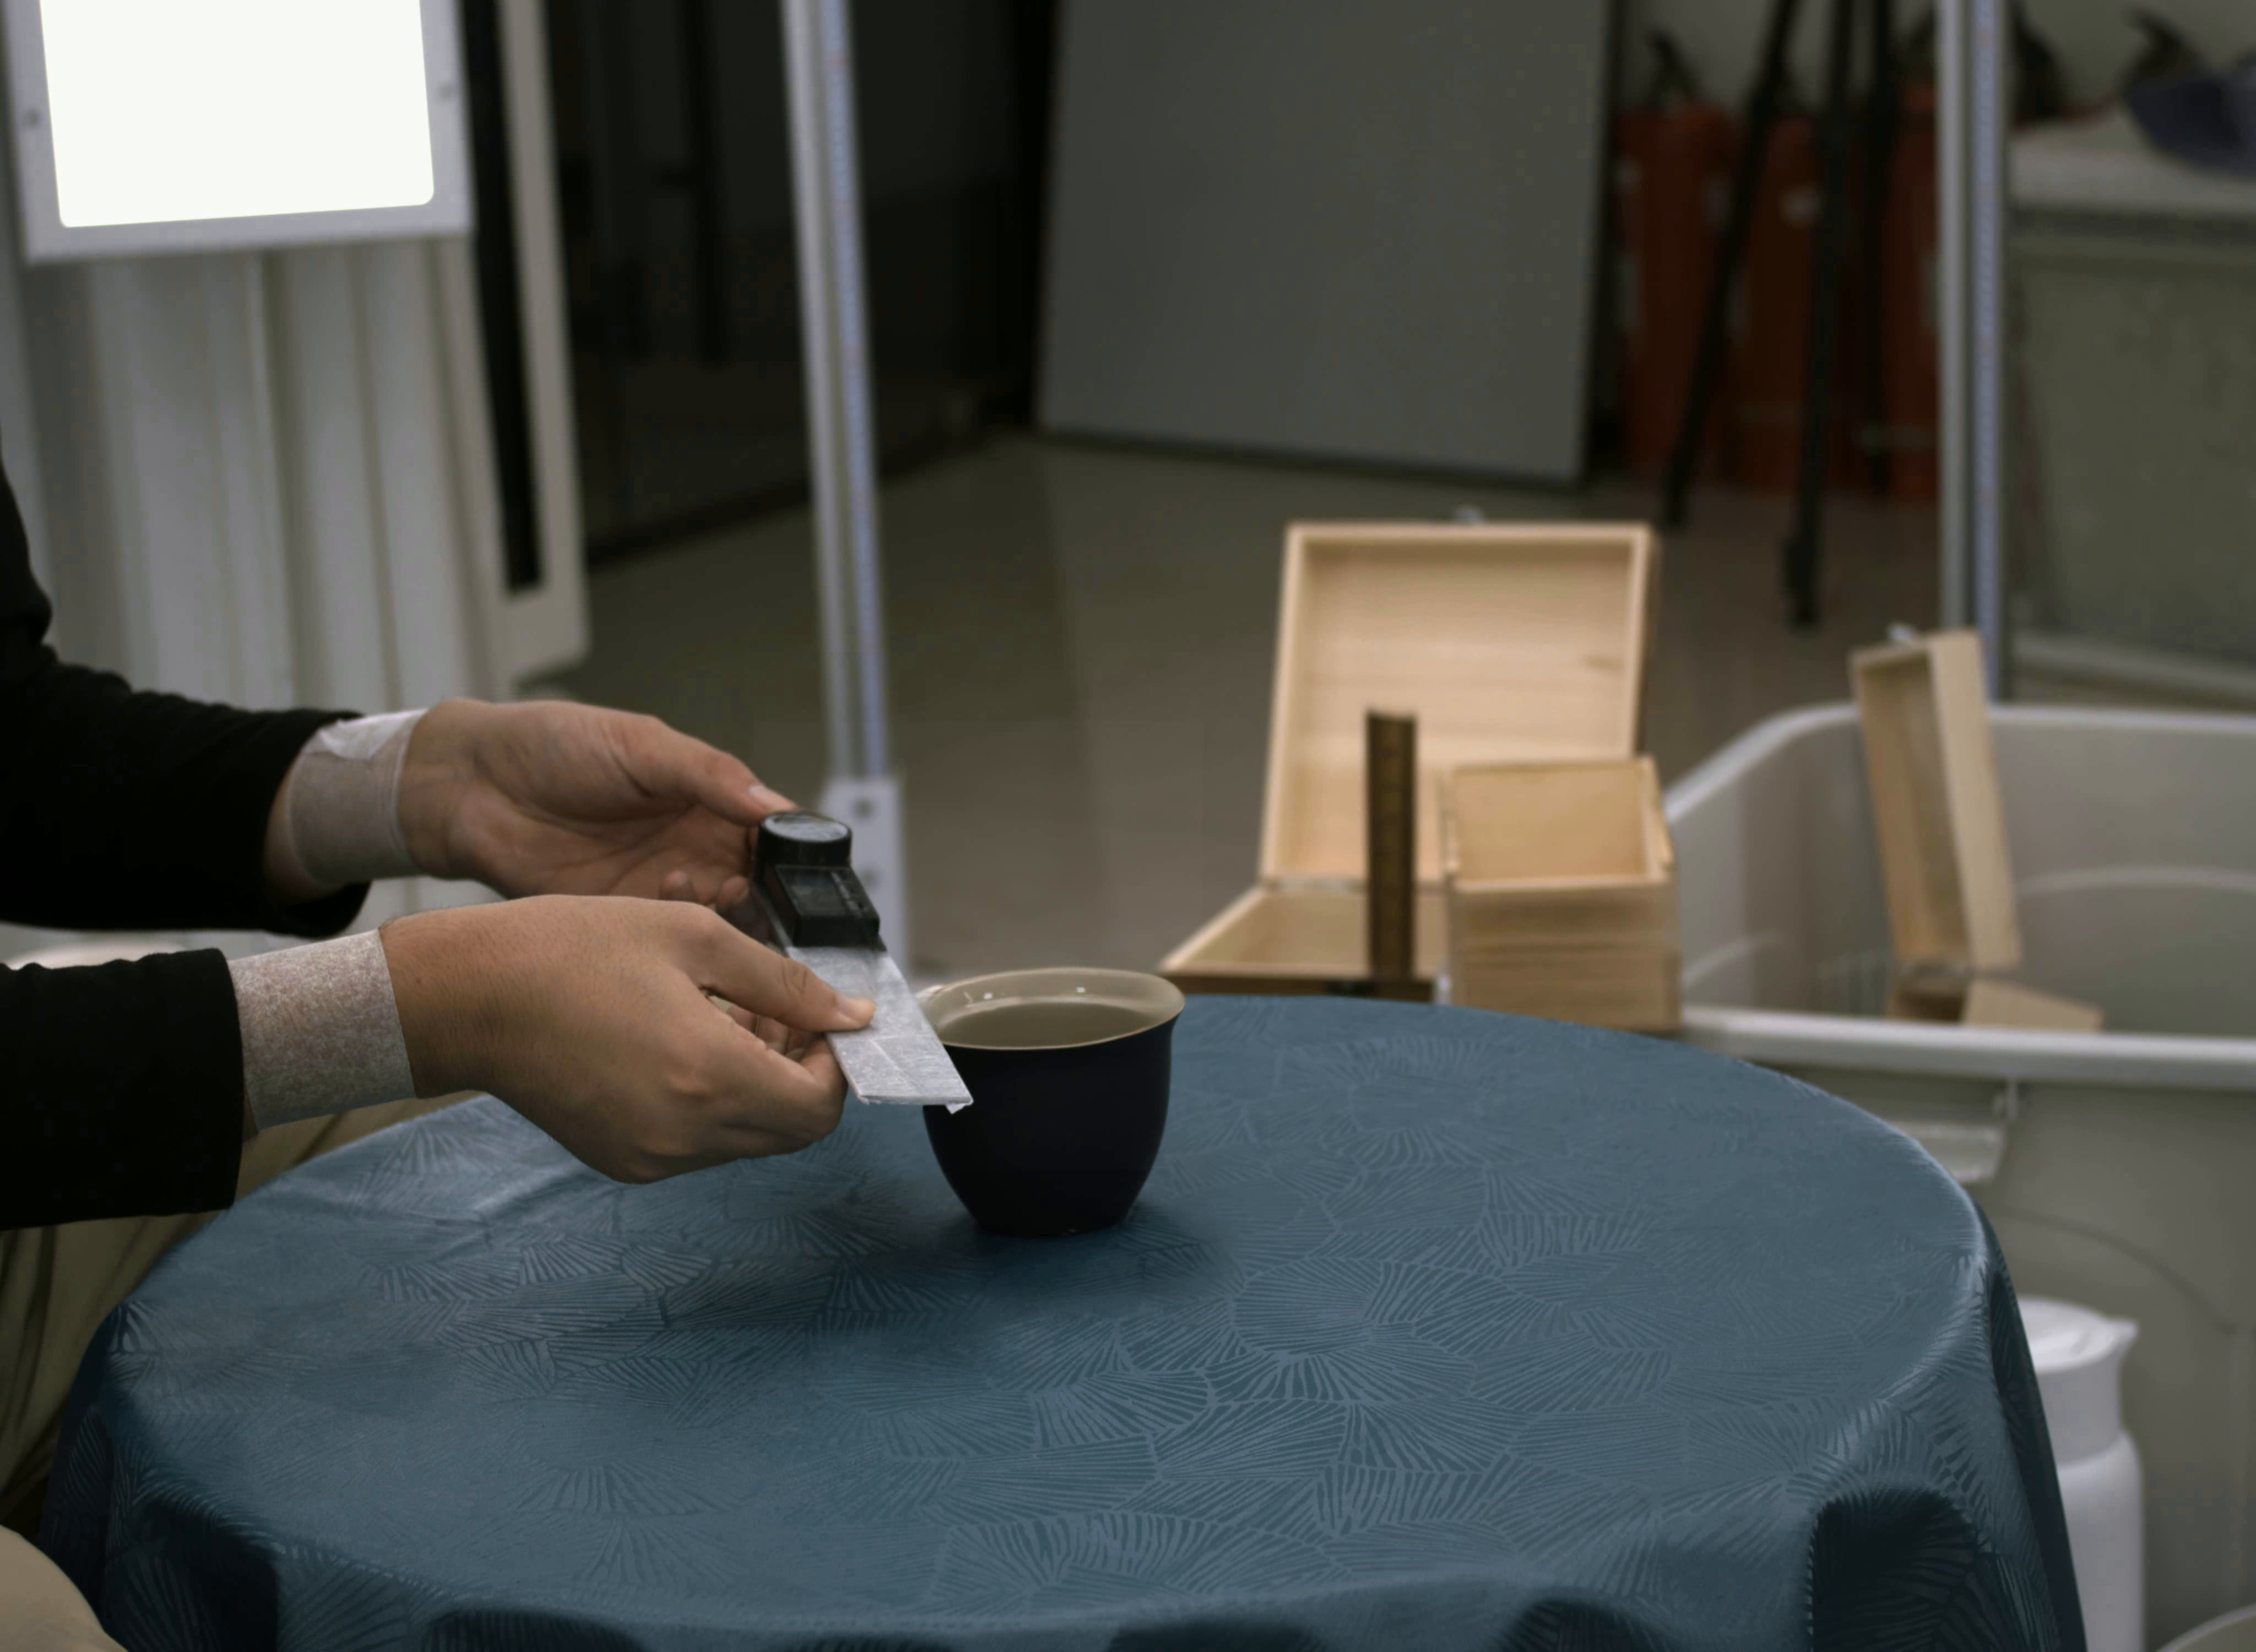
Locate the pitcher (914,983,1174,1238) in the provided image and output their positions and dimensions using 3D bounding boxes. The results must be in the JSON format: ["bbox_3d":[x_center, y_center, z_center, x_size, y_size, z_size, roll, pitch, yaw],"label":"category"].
[{"bbox_3d":[-0.031,0.091,1.746,0.096,0.072,0.082,5,17,29],"label":"pitcher"}]

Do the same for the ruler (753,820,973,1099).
[{"bbox_3d":[-0.089,0.040,1.742,0.037,0.024,0.220,-6,18,-12],"label":"ruler"}]
